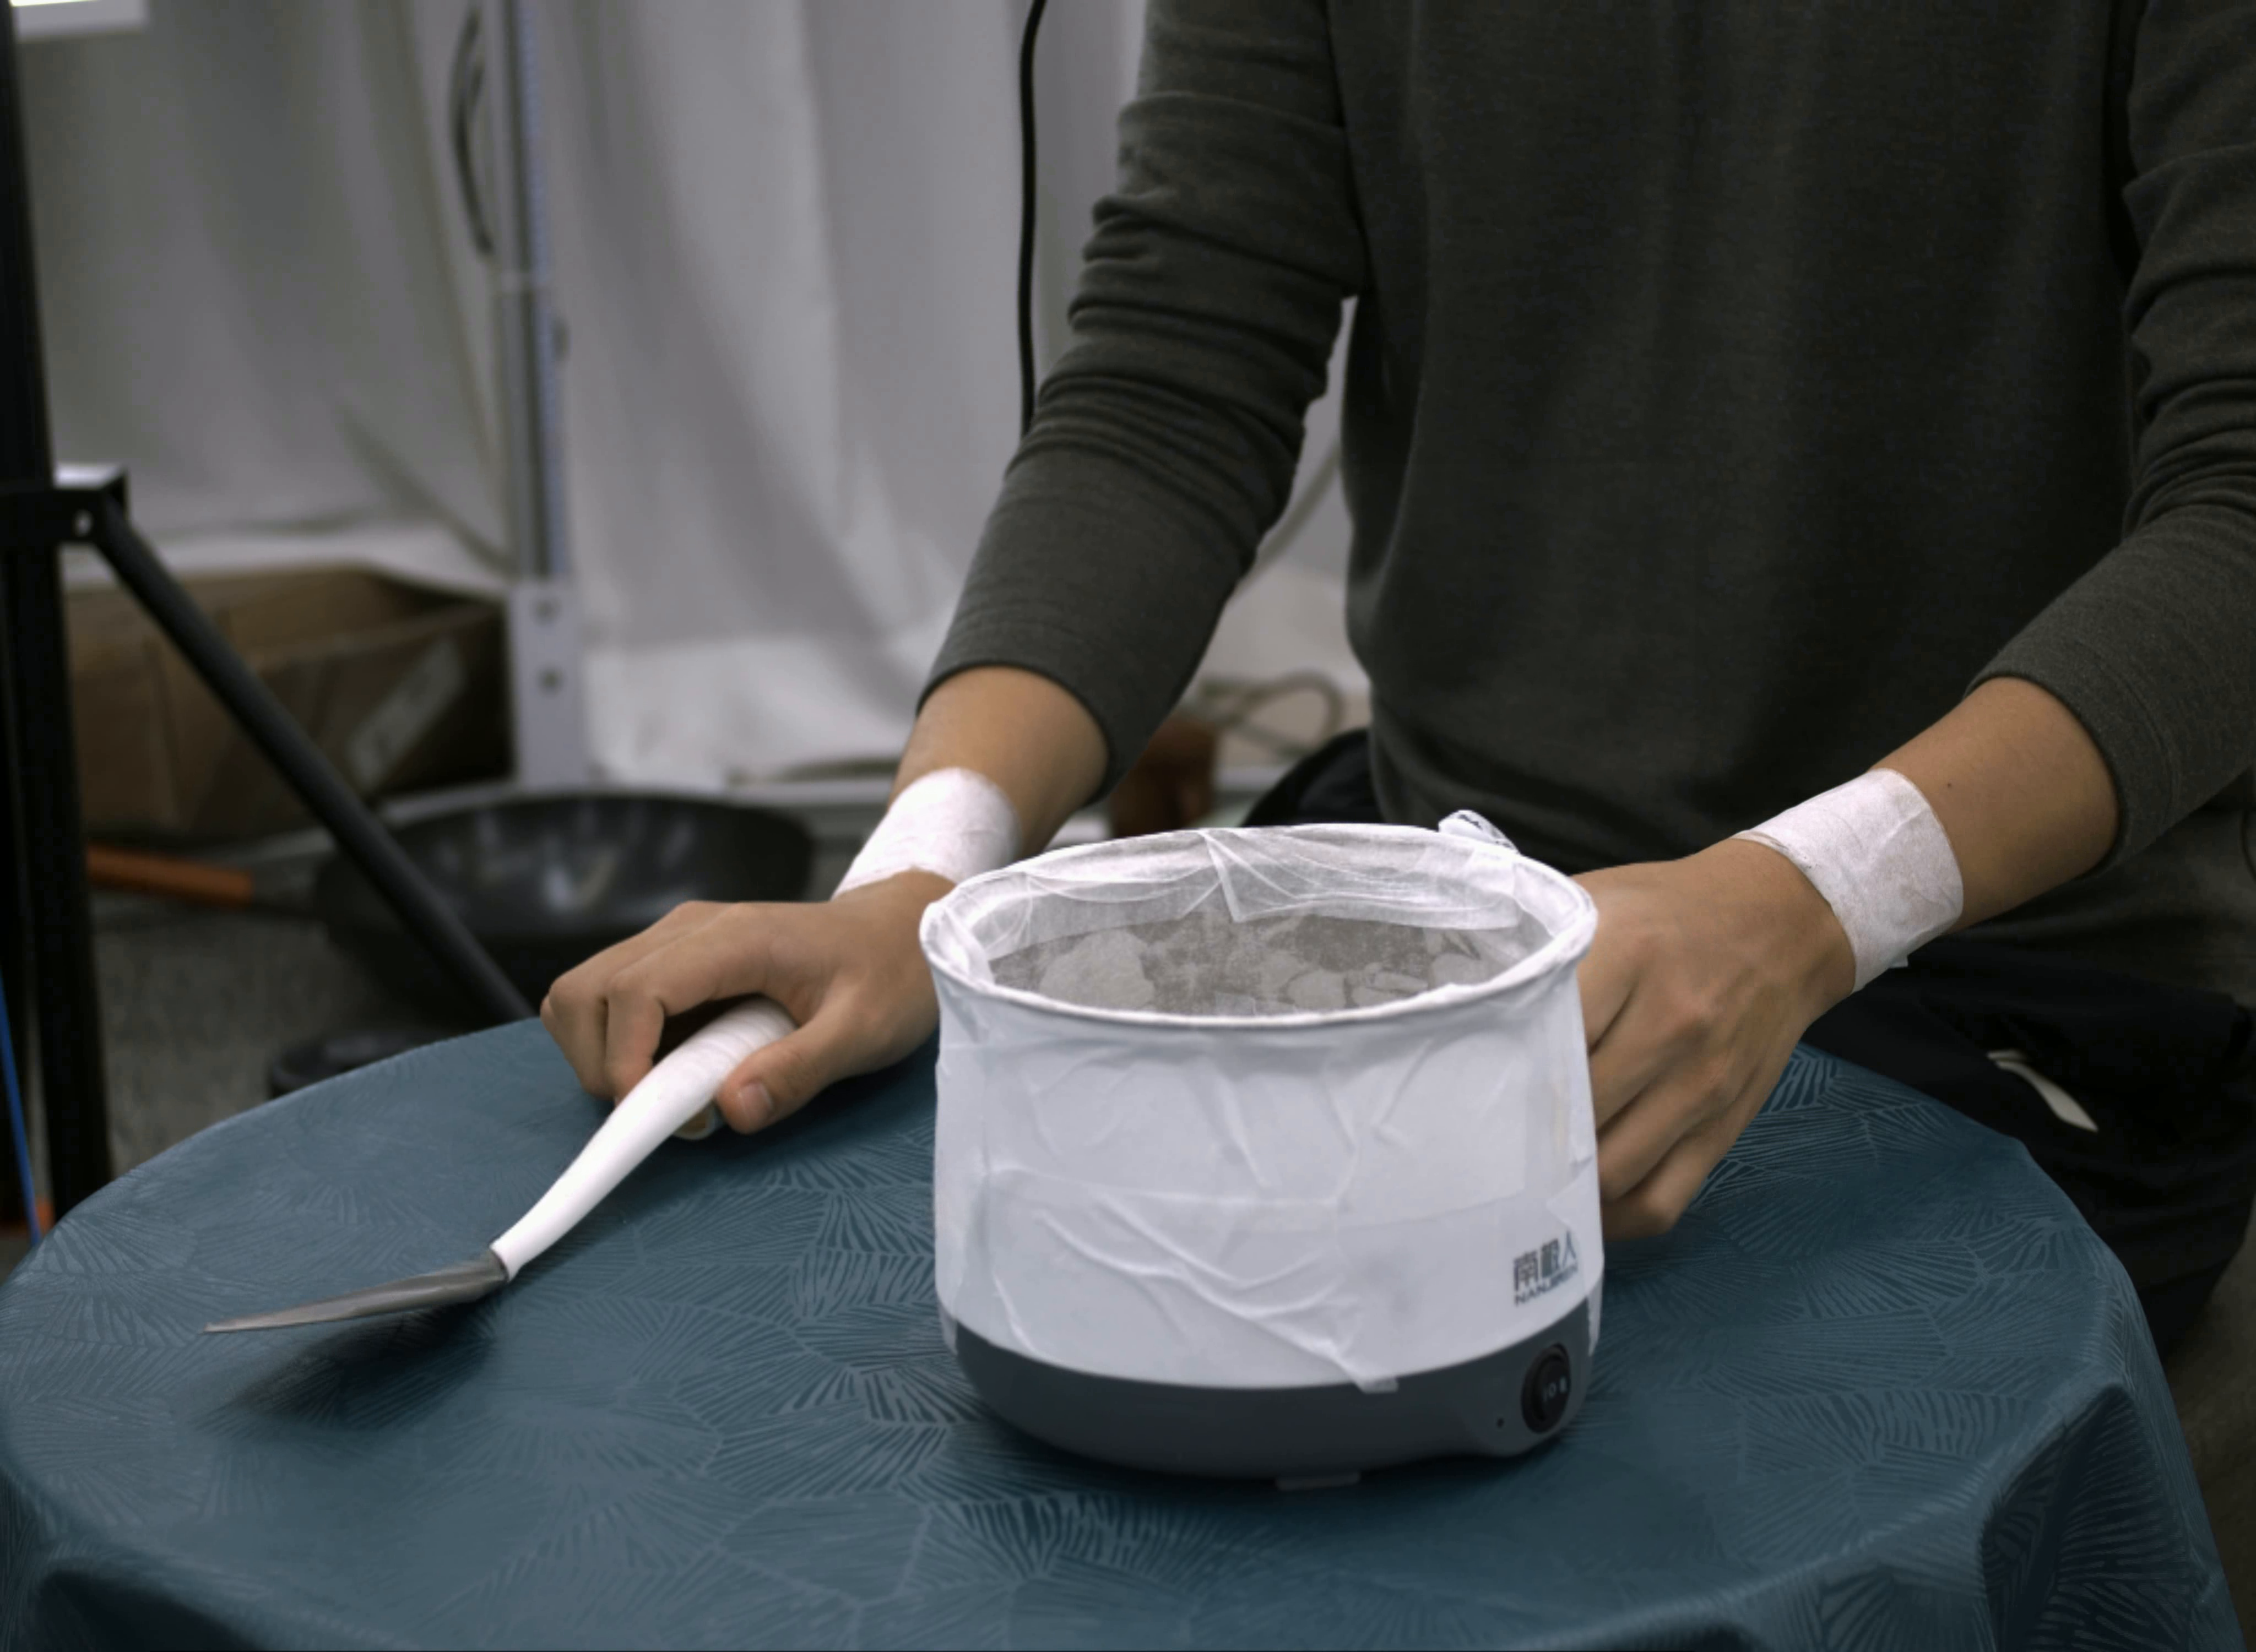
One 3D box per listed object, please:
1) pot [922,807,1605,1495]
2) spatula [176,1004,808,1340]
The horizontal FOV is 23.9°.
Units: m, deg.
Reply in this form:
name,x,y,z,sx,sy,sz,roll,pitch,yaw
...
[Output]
name,x,y,z,sx,sy,sz,roll,pitch,yaw
pot,0.053,0.078,1.408,0.182,0.136,0.229,9,19,35
spatula,-0.172,0.106,1.537,0.059,0.032,0.283,-6,12,27
